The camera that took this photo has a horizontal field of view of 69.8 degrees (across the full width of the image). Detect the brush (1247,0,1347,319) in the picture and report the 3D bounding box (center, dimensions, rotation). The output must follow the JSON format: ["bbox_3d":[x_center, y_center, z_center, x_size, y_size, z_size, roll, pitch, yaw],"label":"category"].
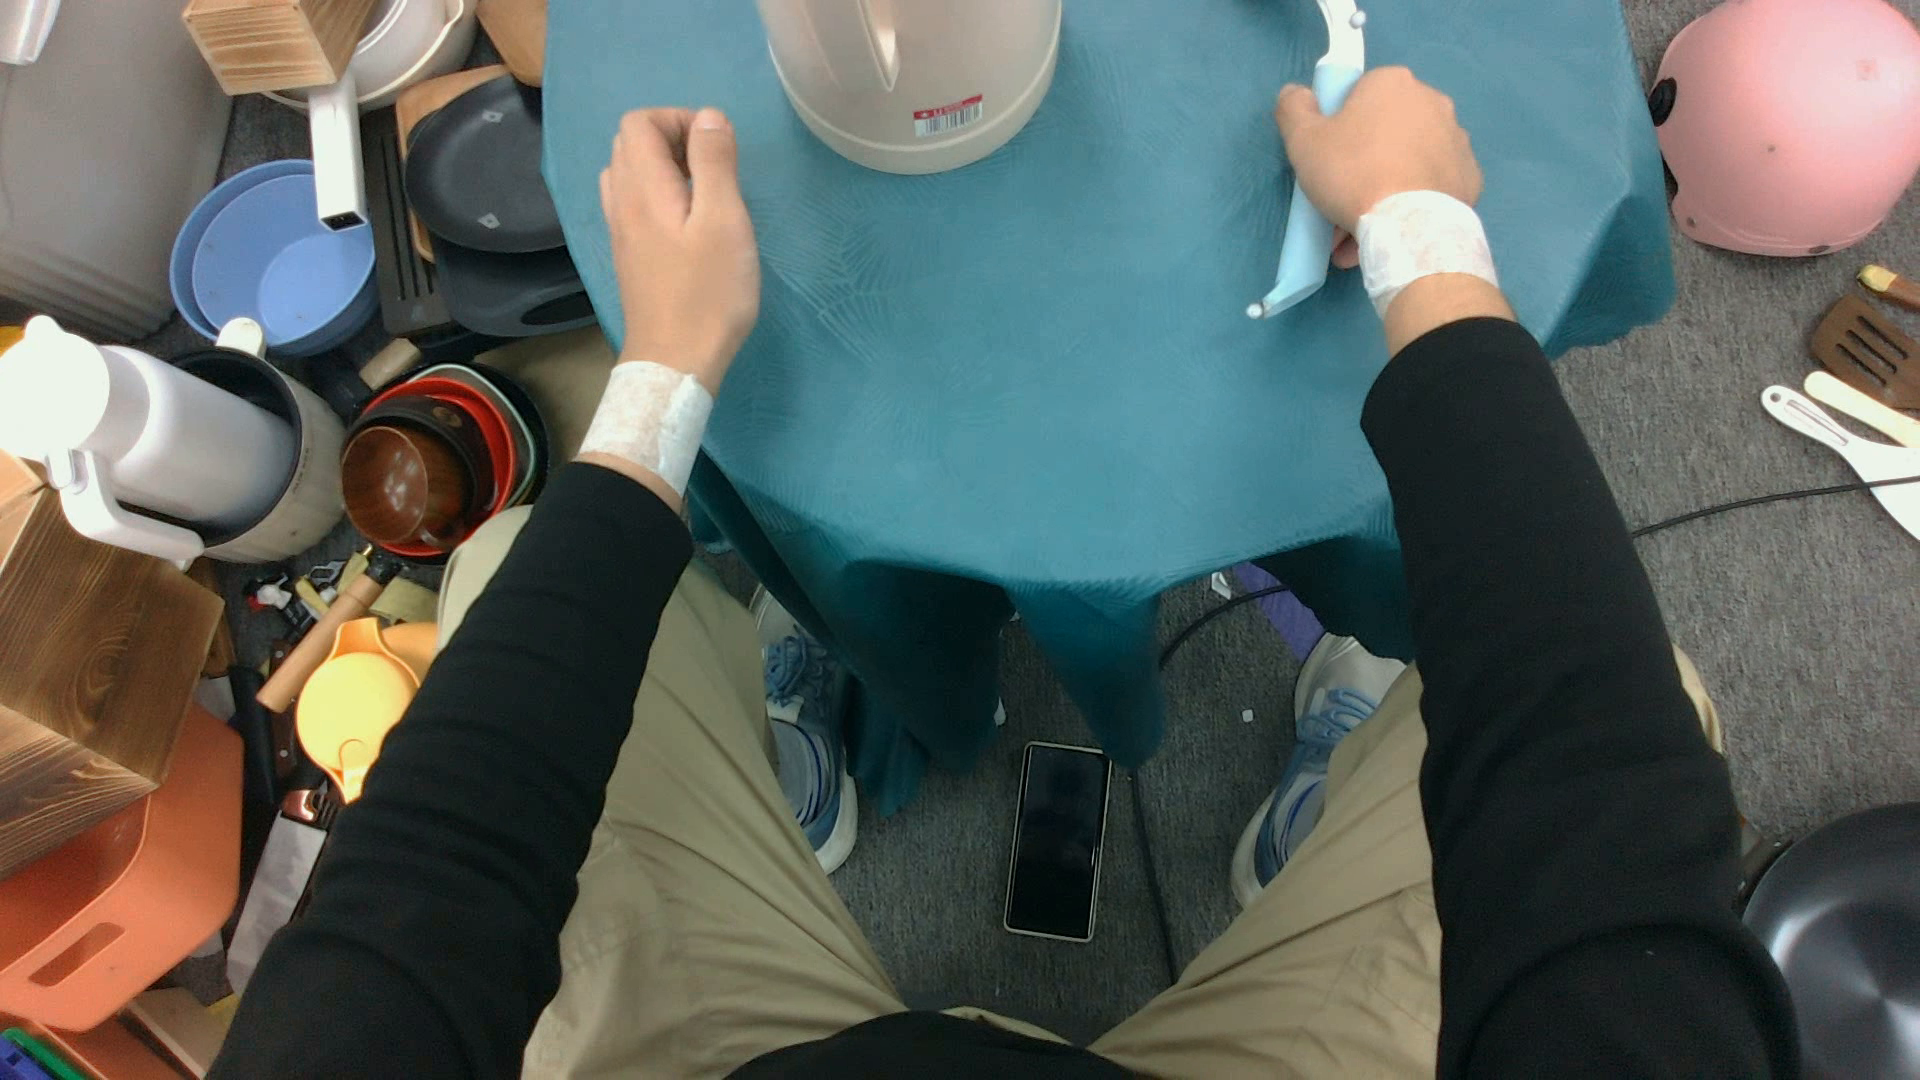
[{"bbox_3d":[0.154,-0.275,0.723,0.084,0.083,0.326,2,76,43],"label":"brush"}]

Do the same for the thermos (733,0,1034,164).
[{"bbox_3d":[-0.048,-0.303,0.575,0.175,0.405,0.207,5,80,2],"label":"thermos"}]
